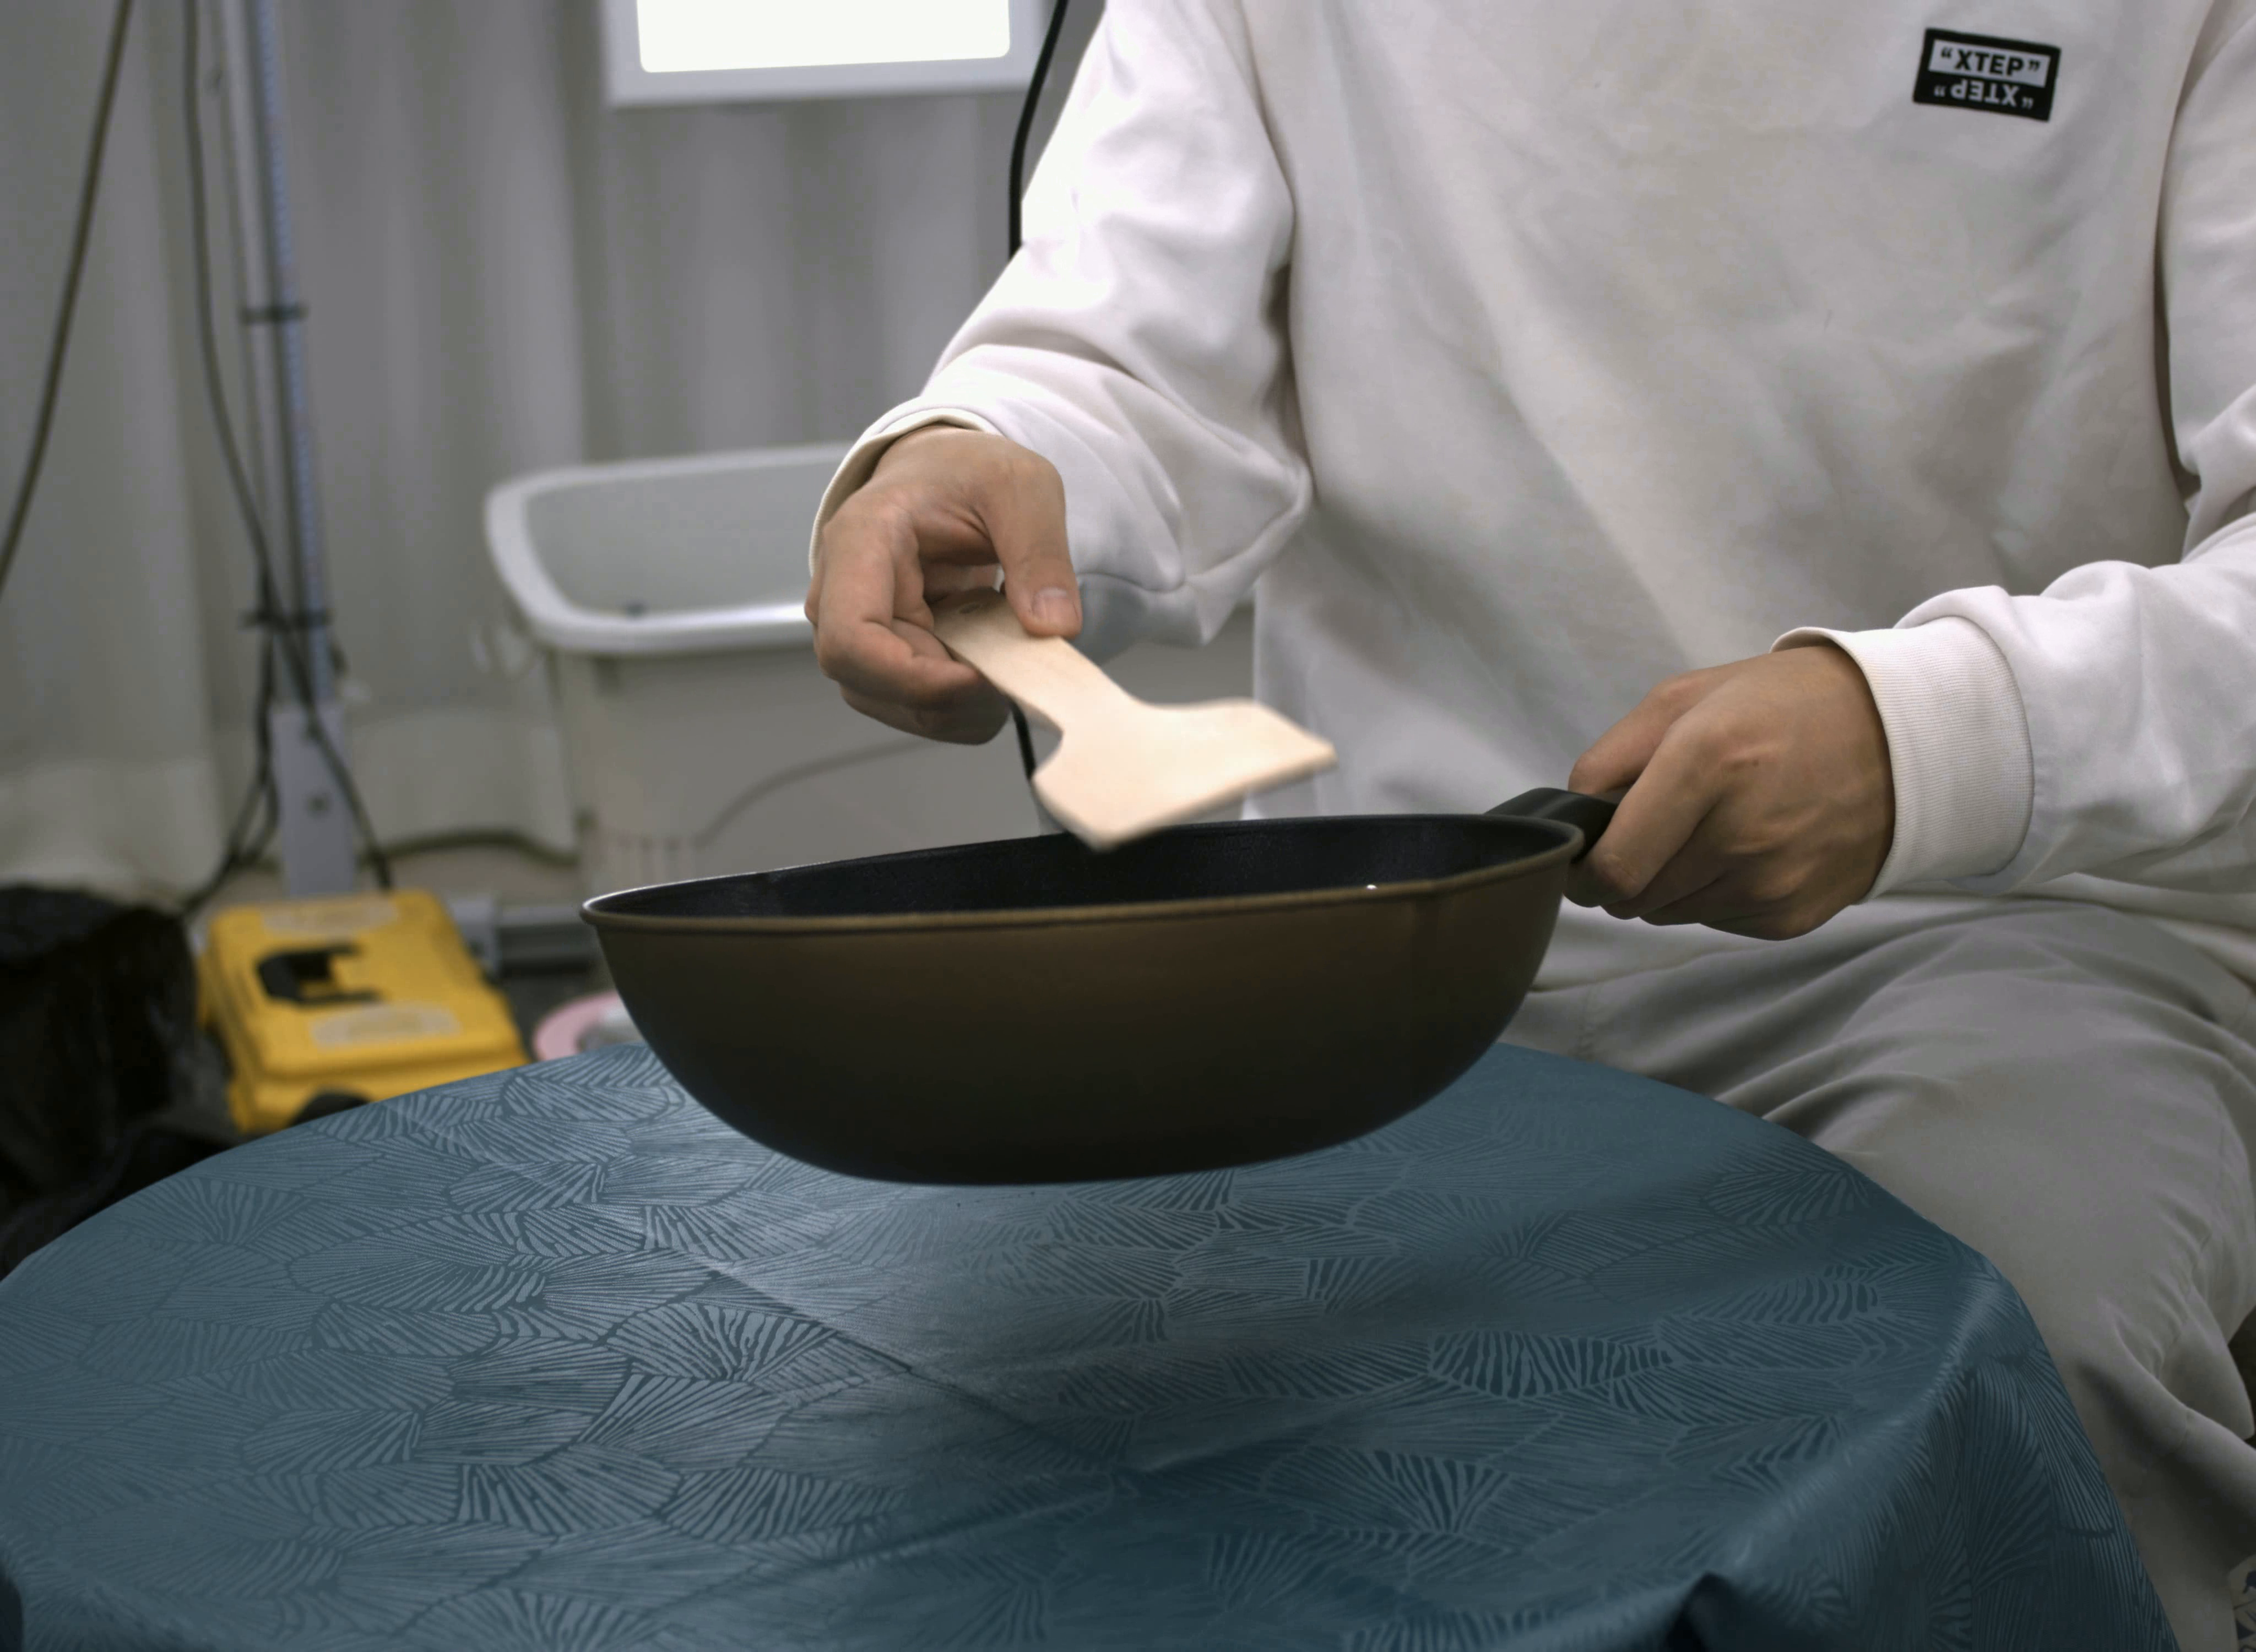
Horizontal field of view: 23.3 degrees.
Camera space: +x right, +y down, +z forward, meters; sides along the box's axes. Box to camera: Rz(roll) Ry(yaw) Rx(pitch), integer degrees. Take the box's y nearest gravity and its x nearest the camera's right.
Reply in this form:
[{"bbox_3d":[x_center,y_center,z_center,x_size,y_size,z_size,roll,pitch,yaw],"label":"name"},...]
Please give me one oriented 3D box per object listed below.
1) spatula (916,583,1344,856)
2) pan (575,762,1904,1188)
[{"bbox_3d":[-0.015,-0.036,1.614,0.072,0.010,0.295,-20,19,-12],"label":"spatula"},{"bbox_3d":[0.058,0.040,1.580,0.461,0.087,0.289,-7,5,-40],"label":"pan"}]
